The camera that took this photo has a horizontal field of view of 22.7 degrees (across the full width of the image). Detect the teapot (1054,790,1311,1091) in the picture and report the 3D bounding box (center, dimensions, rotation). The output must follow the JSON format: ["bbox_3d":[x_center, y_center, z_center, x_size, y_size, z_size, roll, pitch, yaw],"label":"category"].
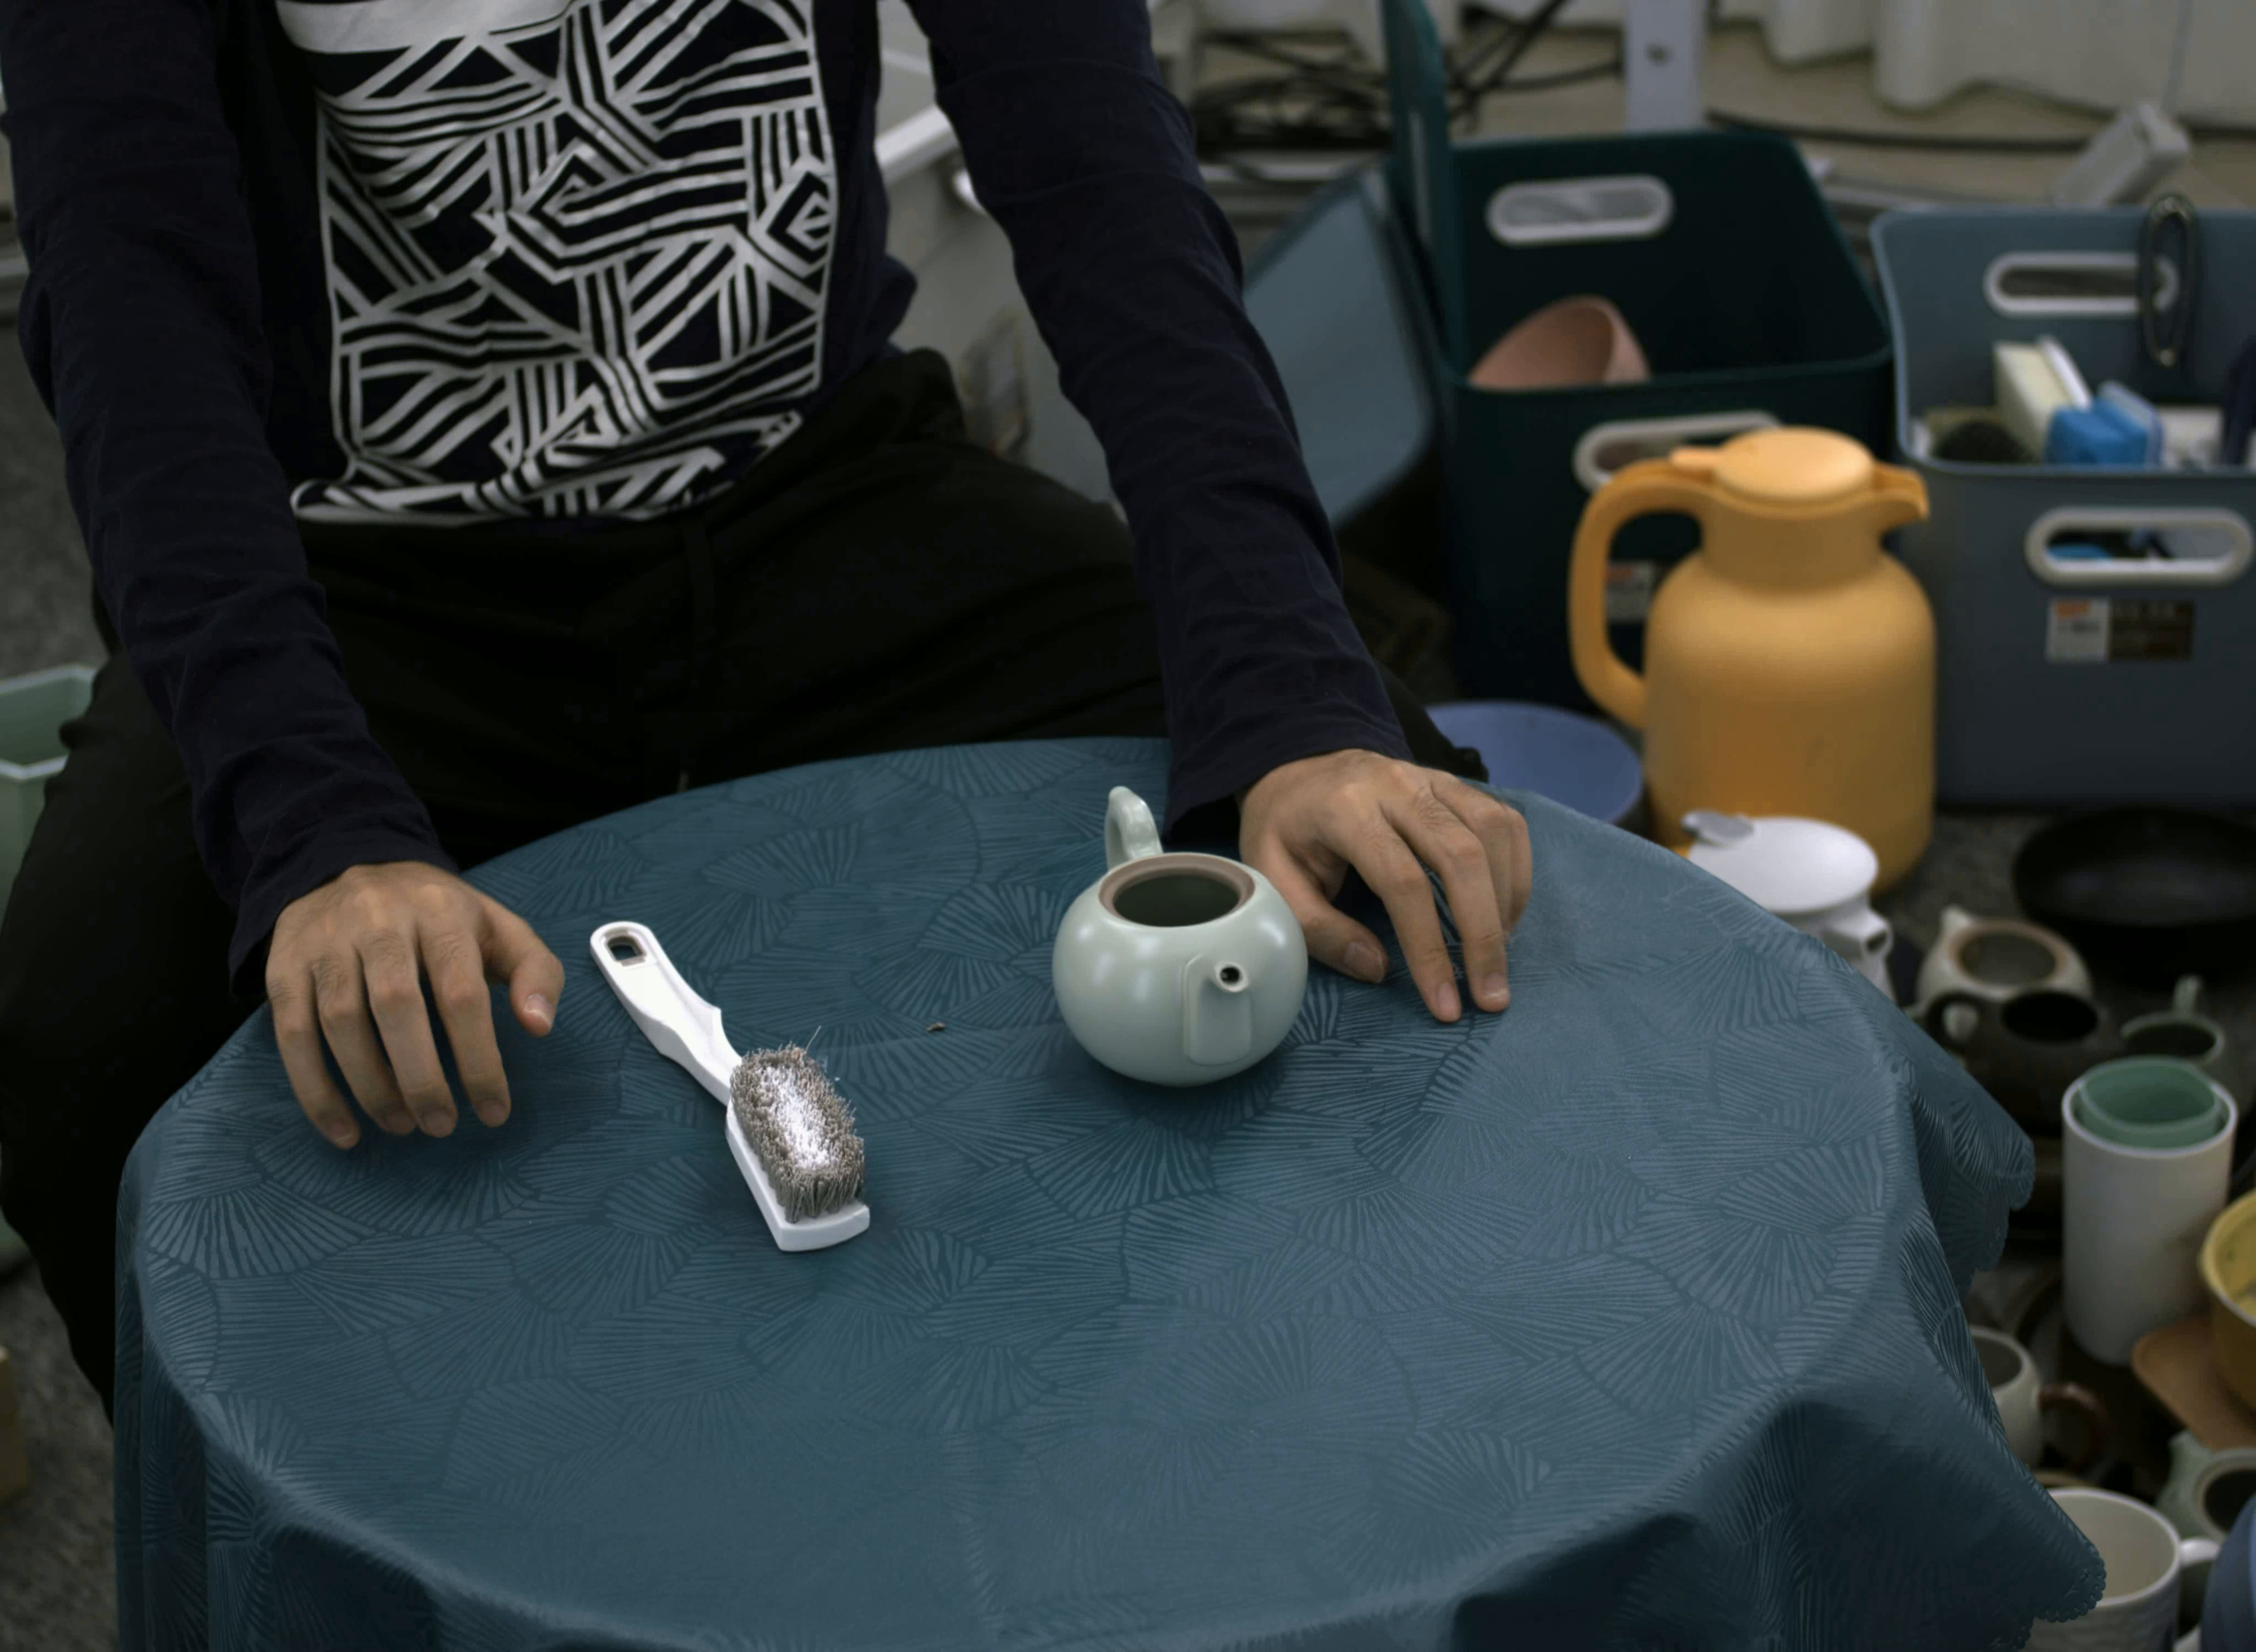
[{"bbox_3d":[0.019,0.049,1.922,0.088,0.074,0.145,-10,29,-10],"label":"teapot"}]

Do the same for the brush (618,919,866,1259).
[{"bbox_3d":[-0.138,0.072,1.917,0.034,0.049,0.246,-15,30,-13],"label":"brush"}]
